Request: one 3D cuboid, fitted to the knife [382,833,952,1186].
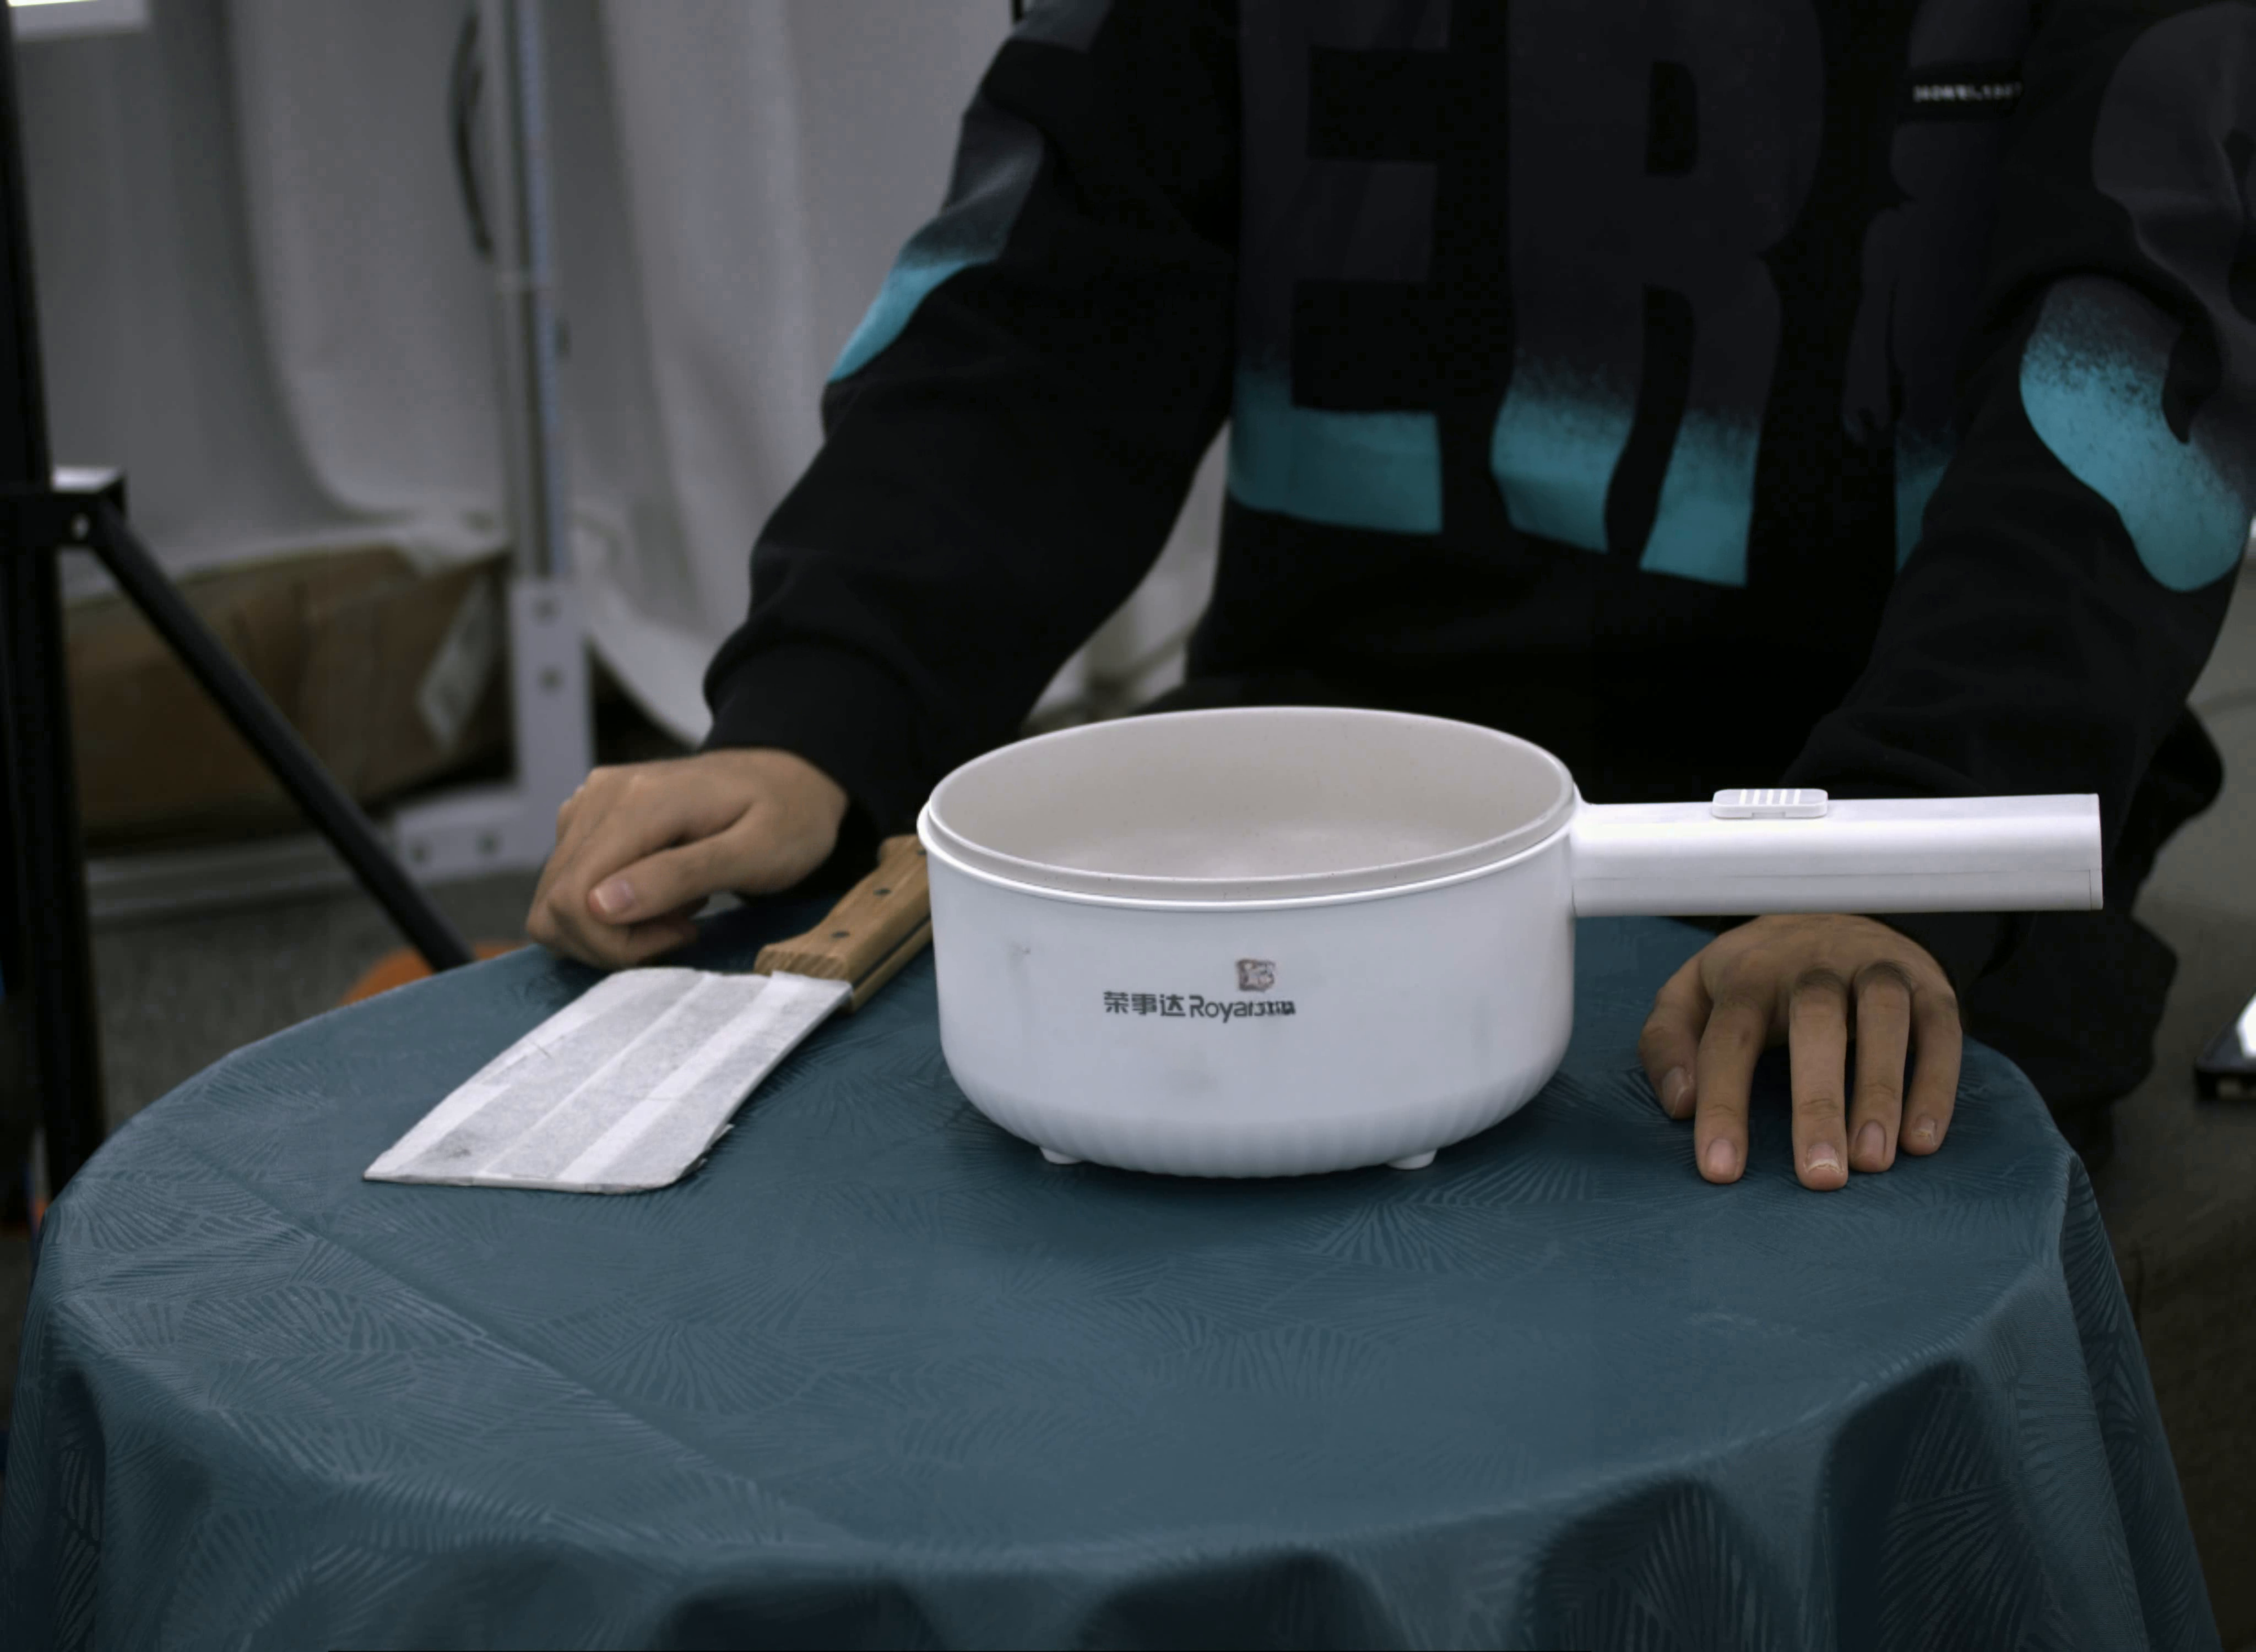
[{"bbox_3d":[-0.129,0.060,1.718,0.115,0.022,0.311,4,20,24],"label":"knife"}]

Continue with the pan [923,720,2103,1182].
[{"bbox_3d":[0.115,0.041,1.599,0.356,0.102,0.200,1,14,11],"label":"pan"}]
